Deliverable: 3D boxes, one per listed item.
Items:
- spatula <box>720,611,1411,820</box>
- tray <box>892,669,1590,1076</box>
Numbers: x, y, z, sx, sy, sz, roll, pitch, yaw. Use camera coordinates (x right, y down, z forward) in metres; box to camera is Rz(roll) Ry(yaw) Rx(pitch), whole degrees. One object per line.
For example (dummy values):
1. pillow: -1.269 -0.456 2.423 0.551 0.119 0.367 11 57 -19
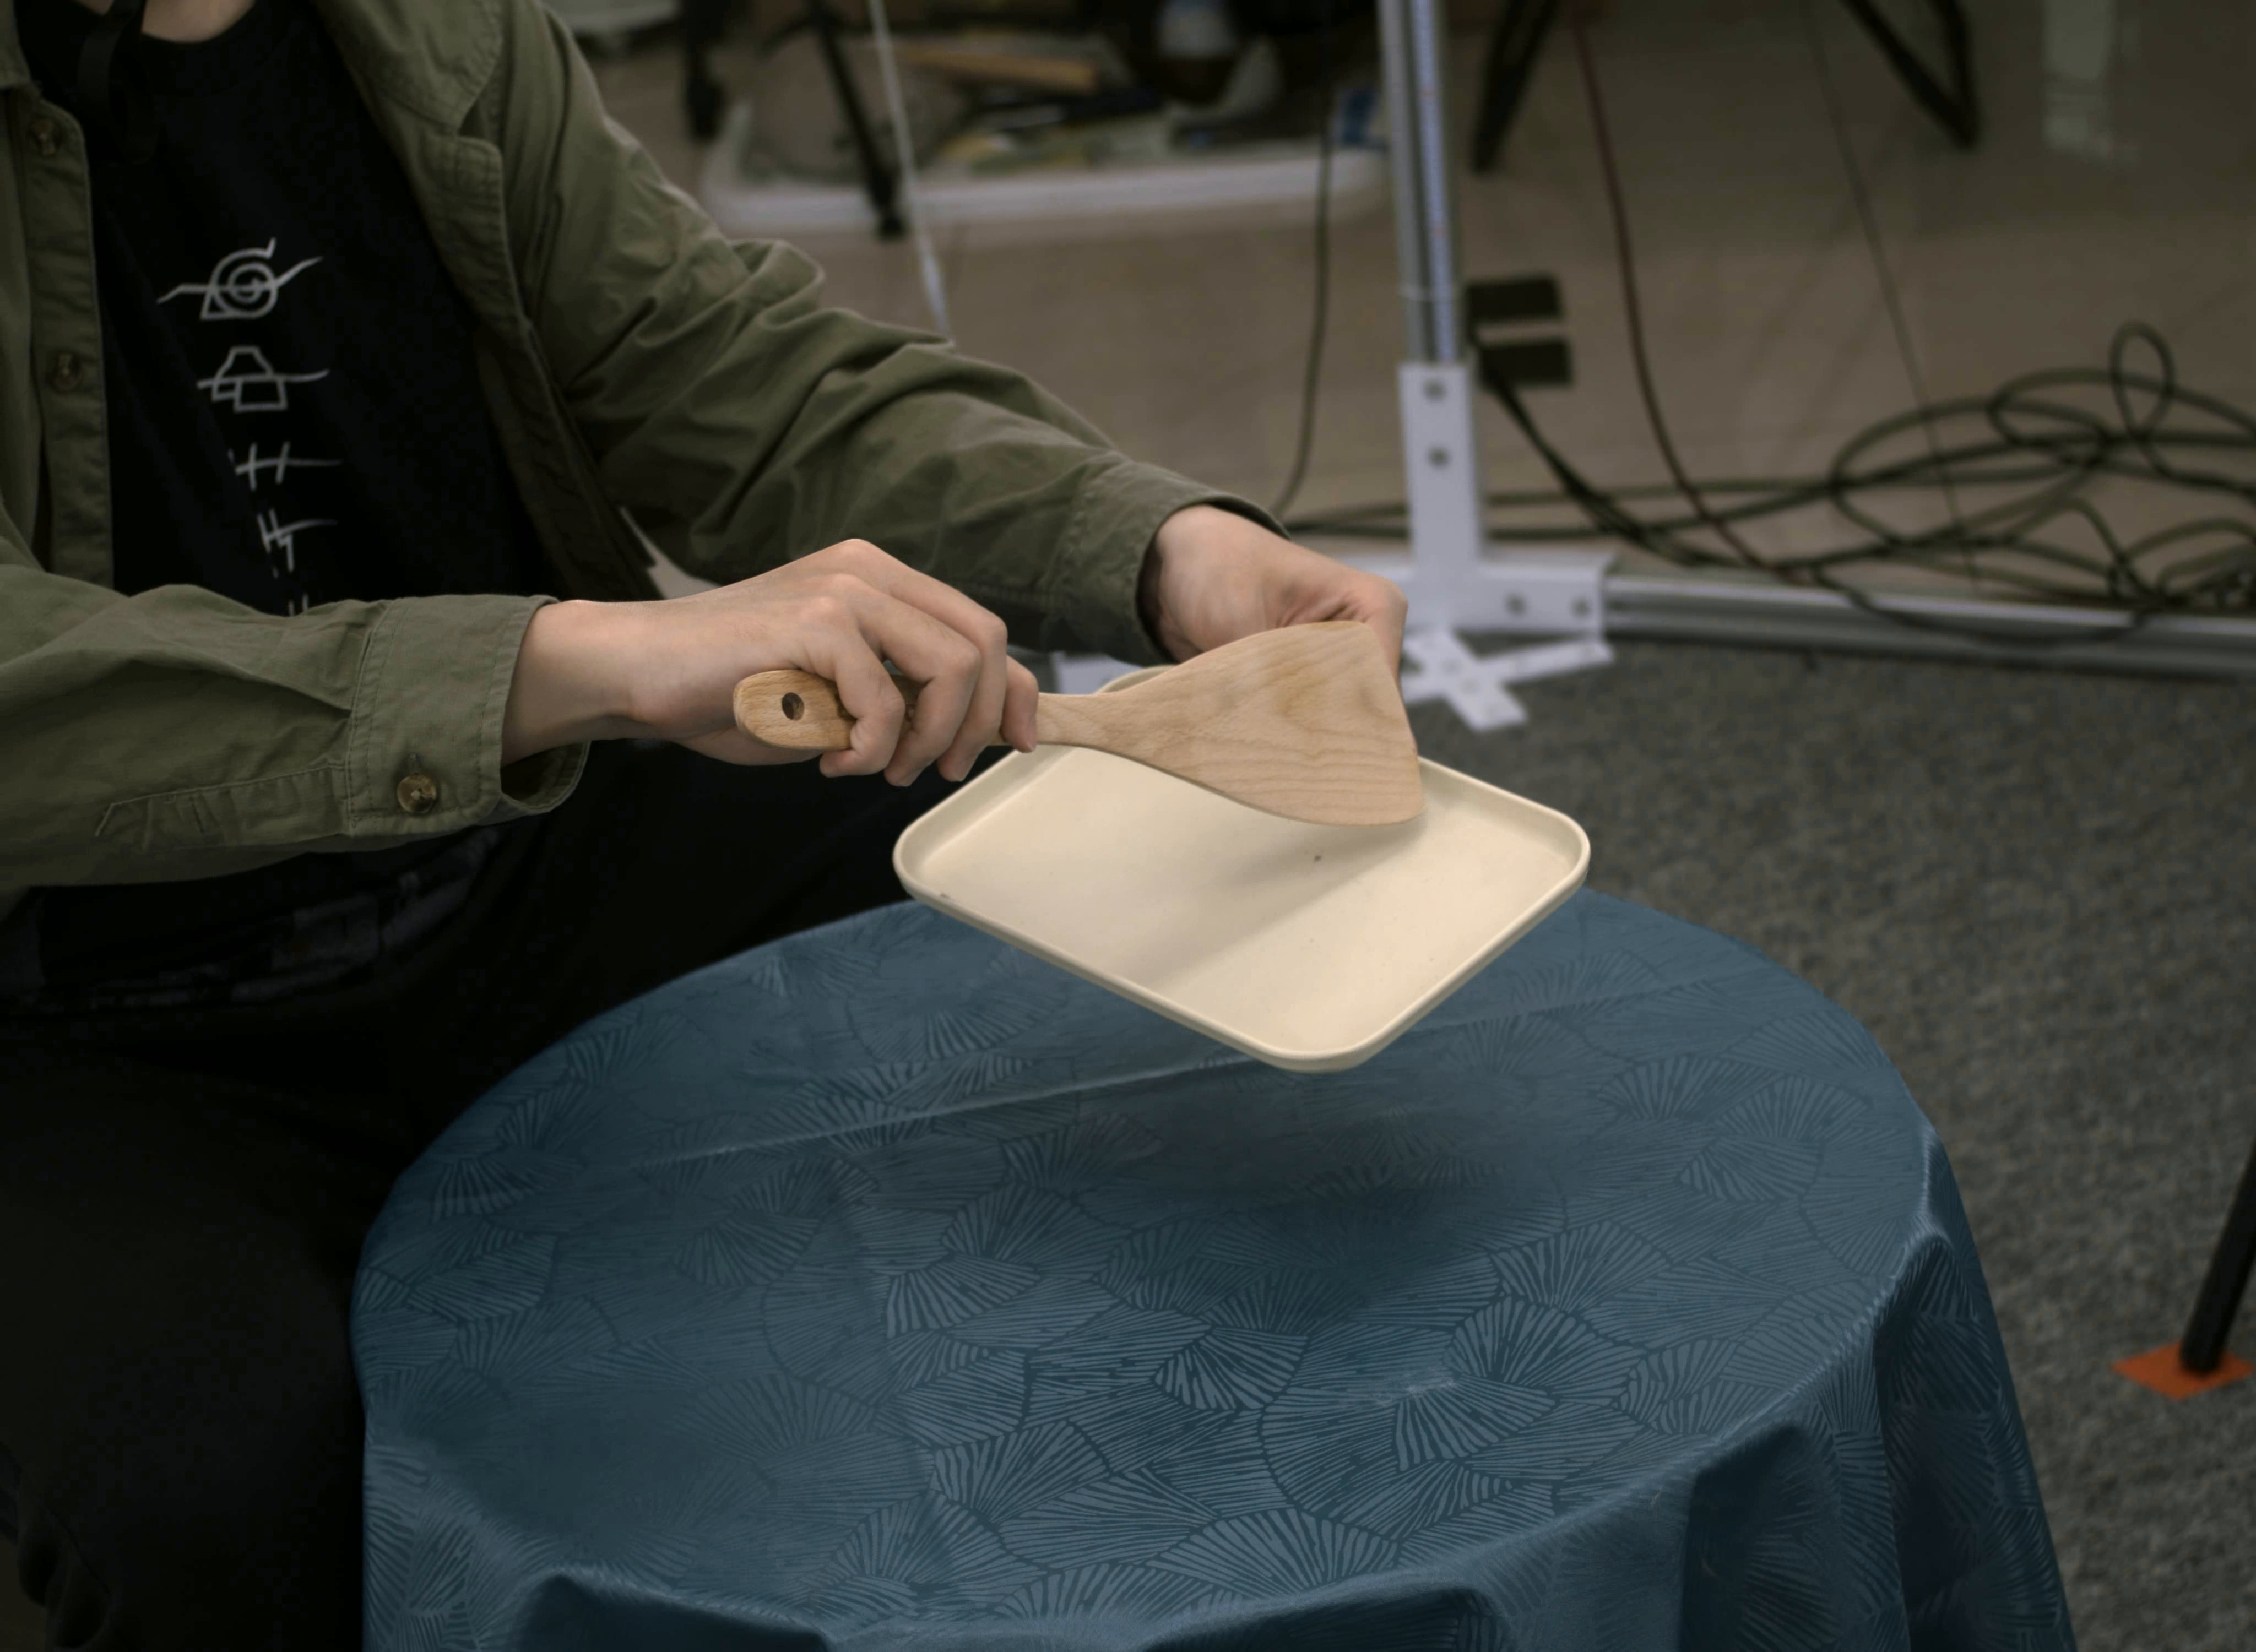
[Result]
1. spatula: -0.019 -0.040 2.029 0.327 0.080 0.016 -1 -10 -45
2. tray: 0.042 0.016 2.130 0.237 0.018 0.169 24 47 37
